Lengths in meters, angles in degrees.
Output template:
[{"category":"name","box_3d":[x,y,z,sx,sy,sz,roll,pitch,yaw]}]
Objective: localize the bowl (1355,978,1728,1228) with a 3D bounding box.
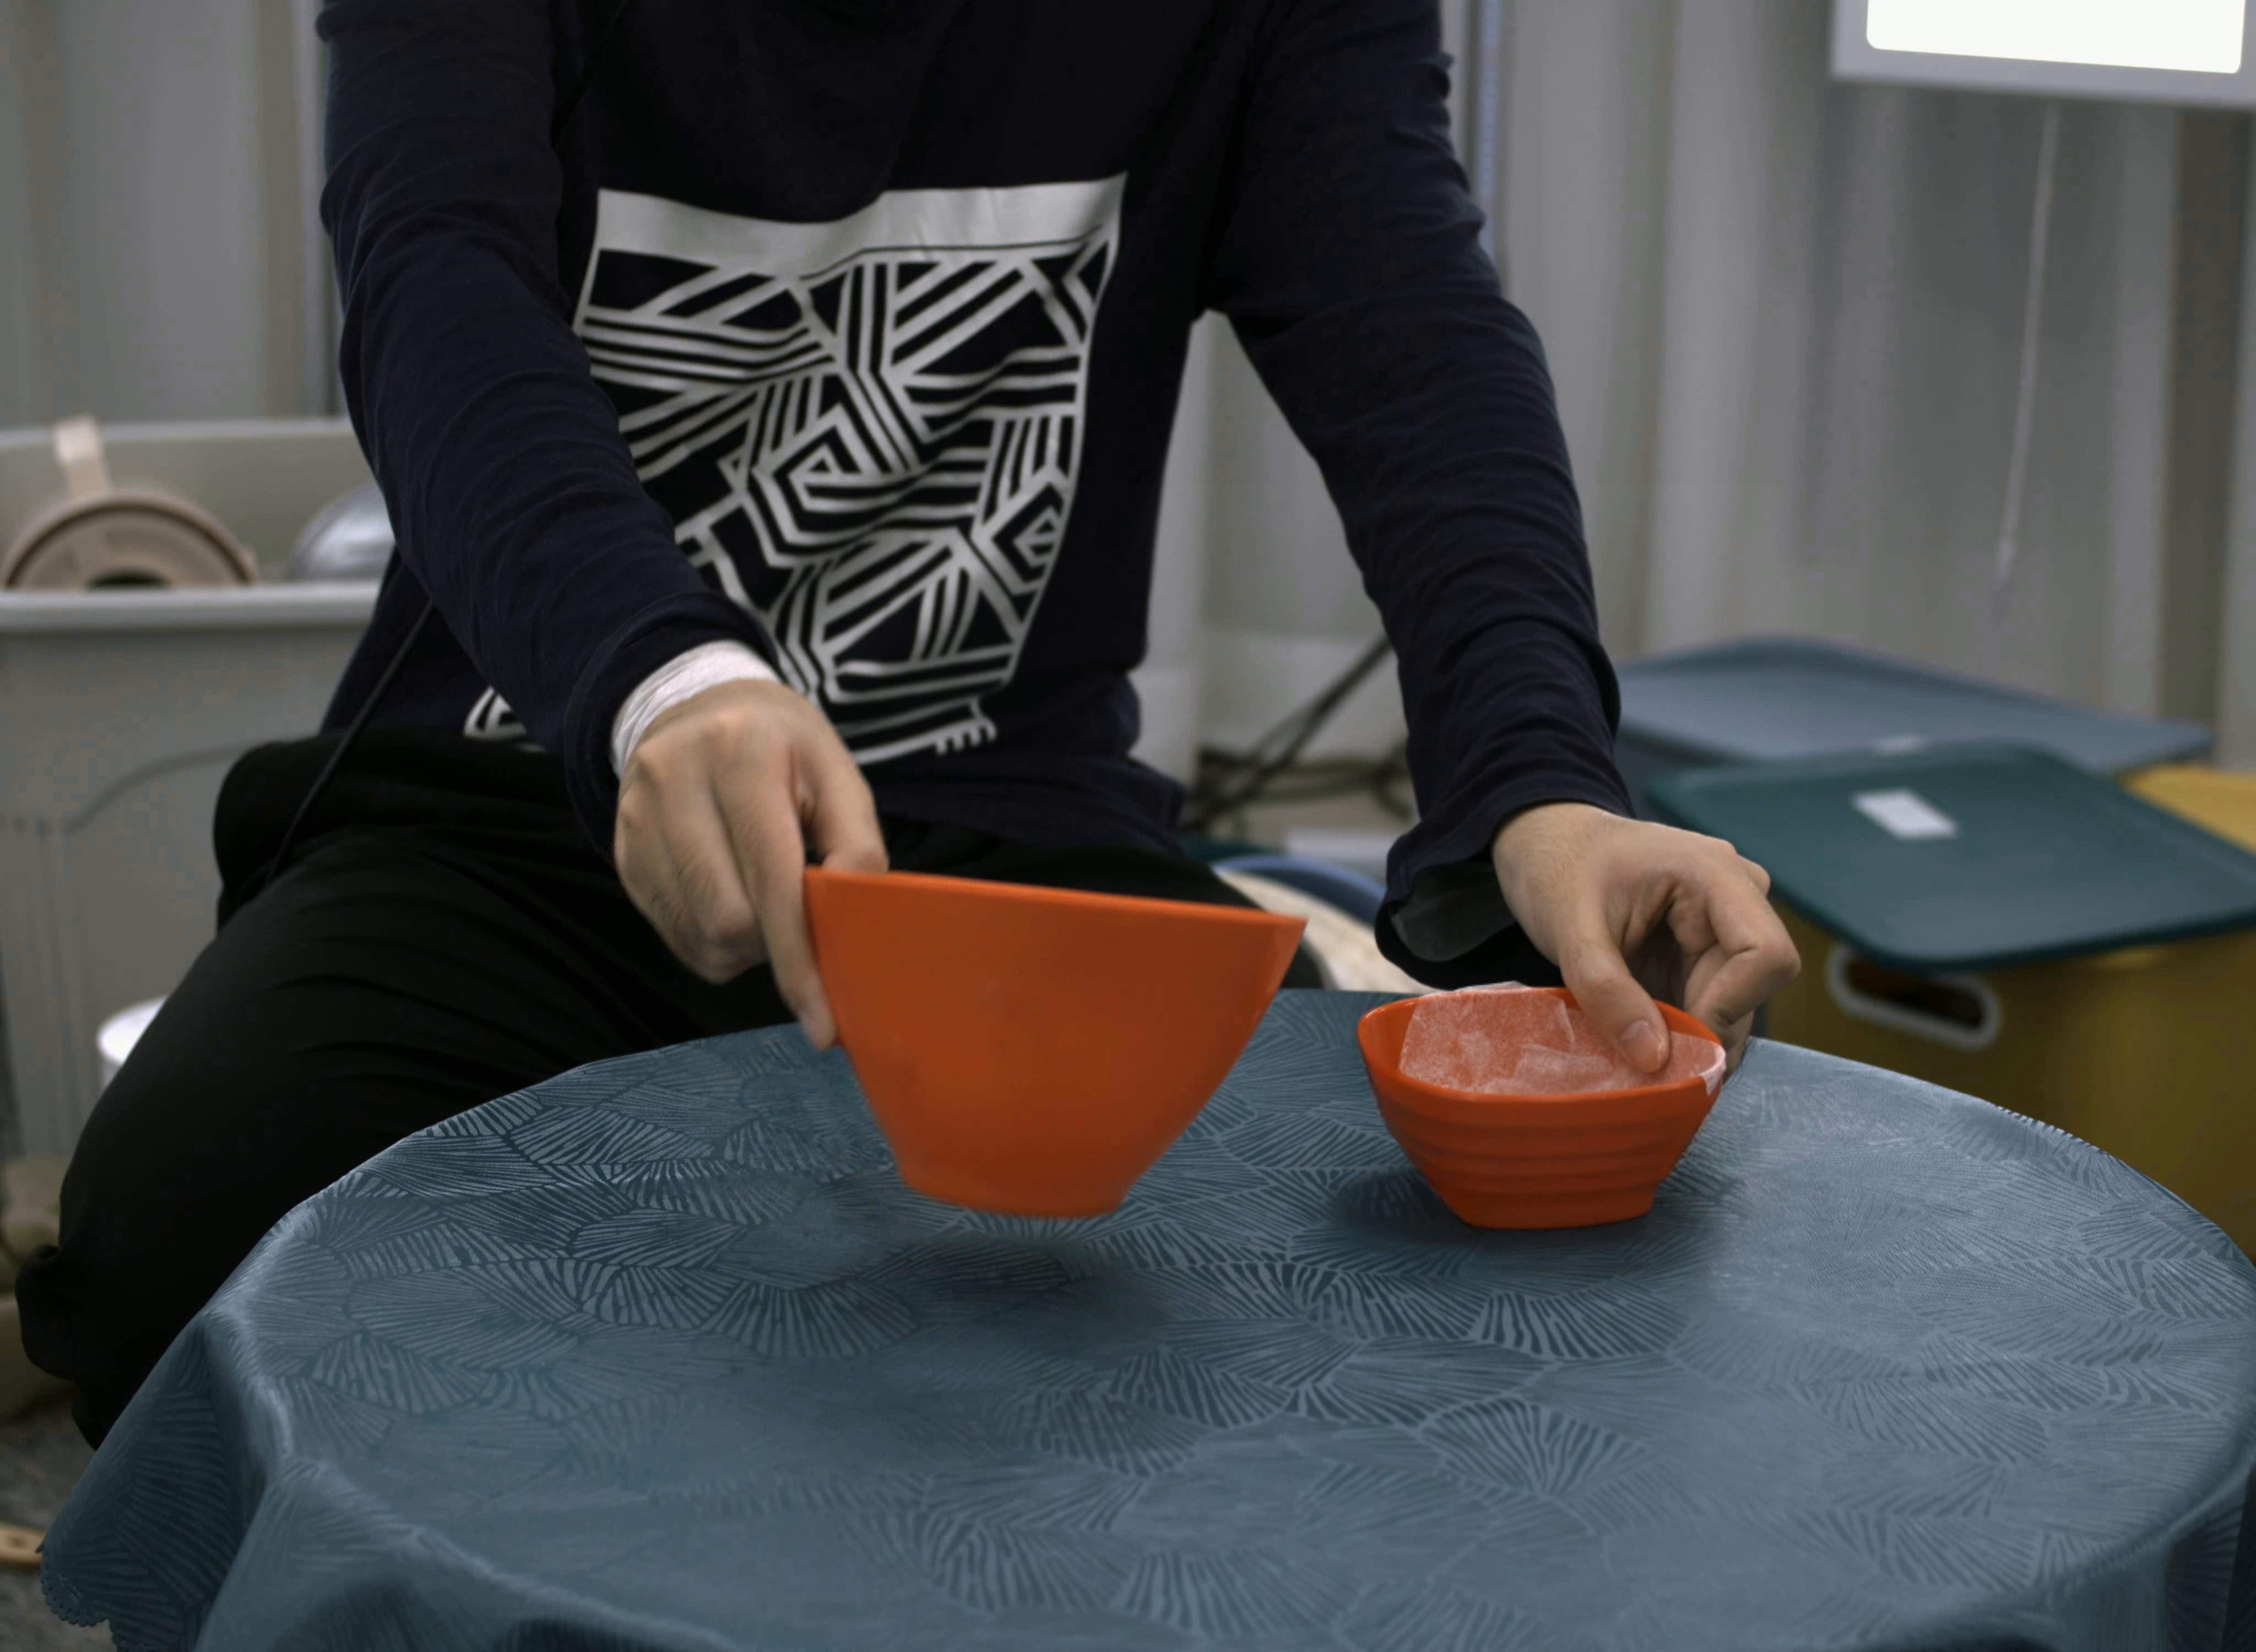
[{"category":"bowl","box_3d":[0.126,0.087,1.619,0.118,0.052,0.118,0,17,0]}]

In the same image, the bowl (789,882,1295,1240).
[{"category":"bowl","box_3d":[-0.030,0.064,1.529,0.147,0.105,0.147,7,9,-1]}]
